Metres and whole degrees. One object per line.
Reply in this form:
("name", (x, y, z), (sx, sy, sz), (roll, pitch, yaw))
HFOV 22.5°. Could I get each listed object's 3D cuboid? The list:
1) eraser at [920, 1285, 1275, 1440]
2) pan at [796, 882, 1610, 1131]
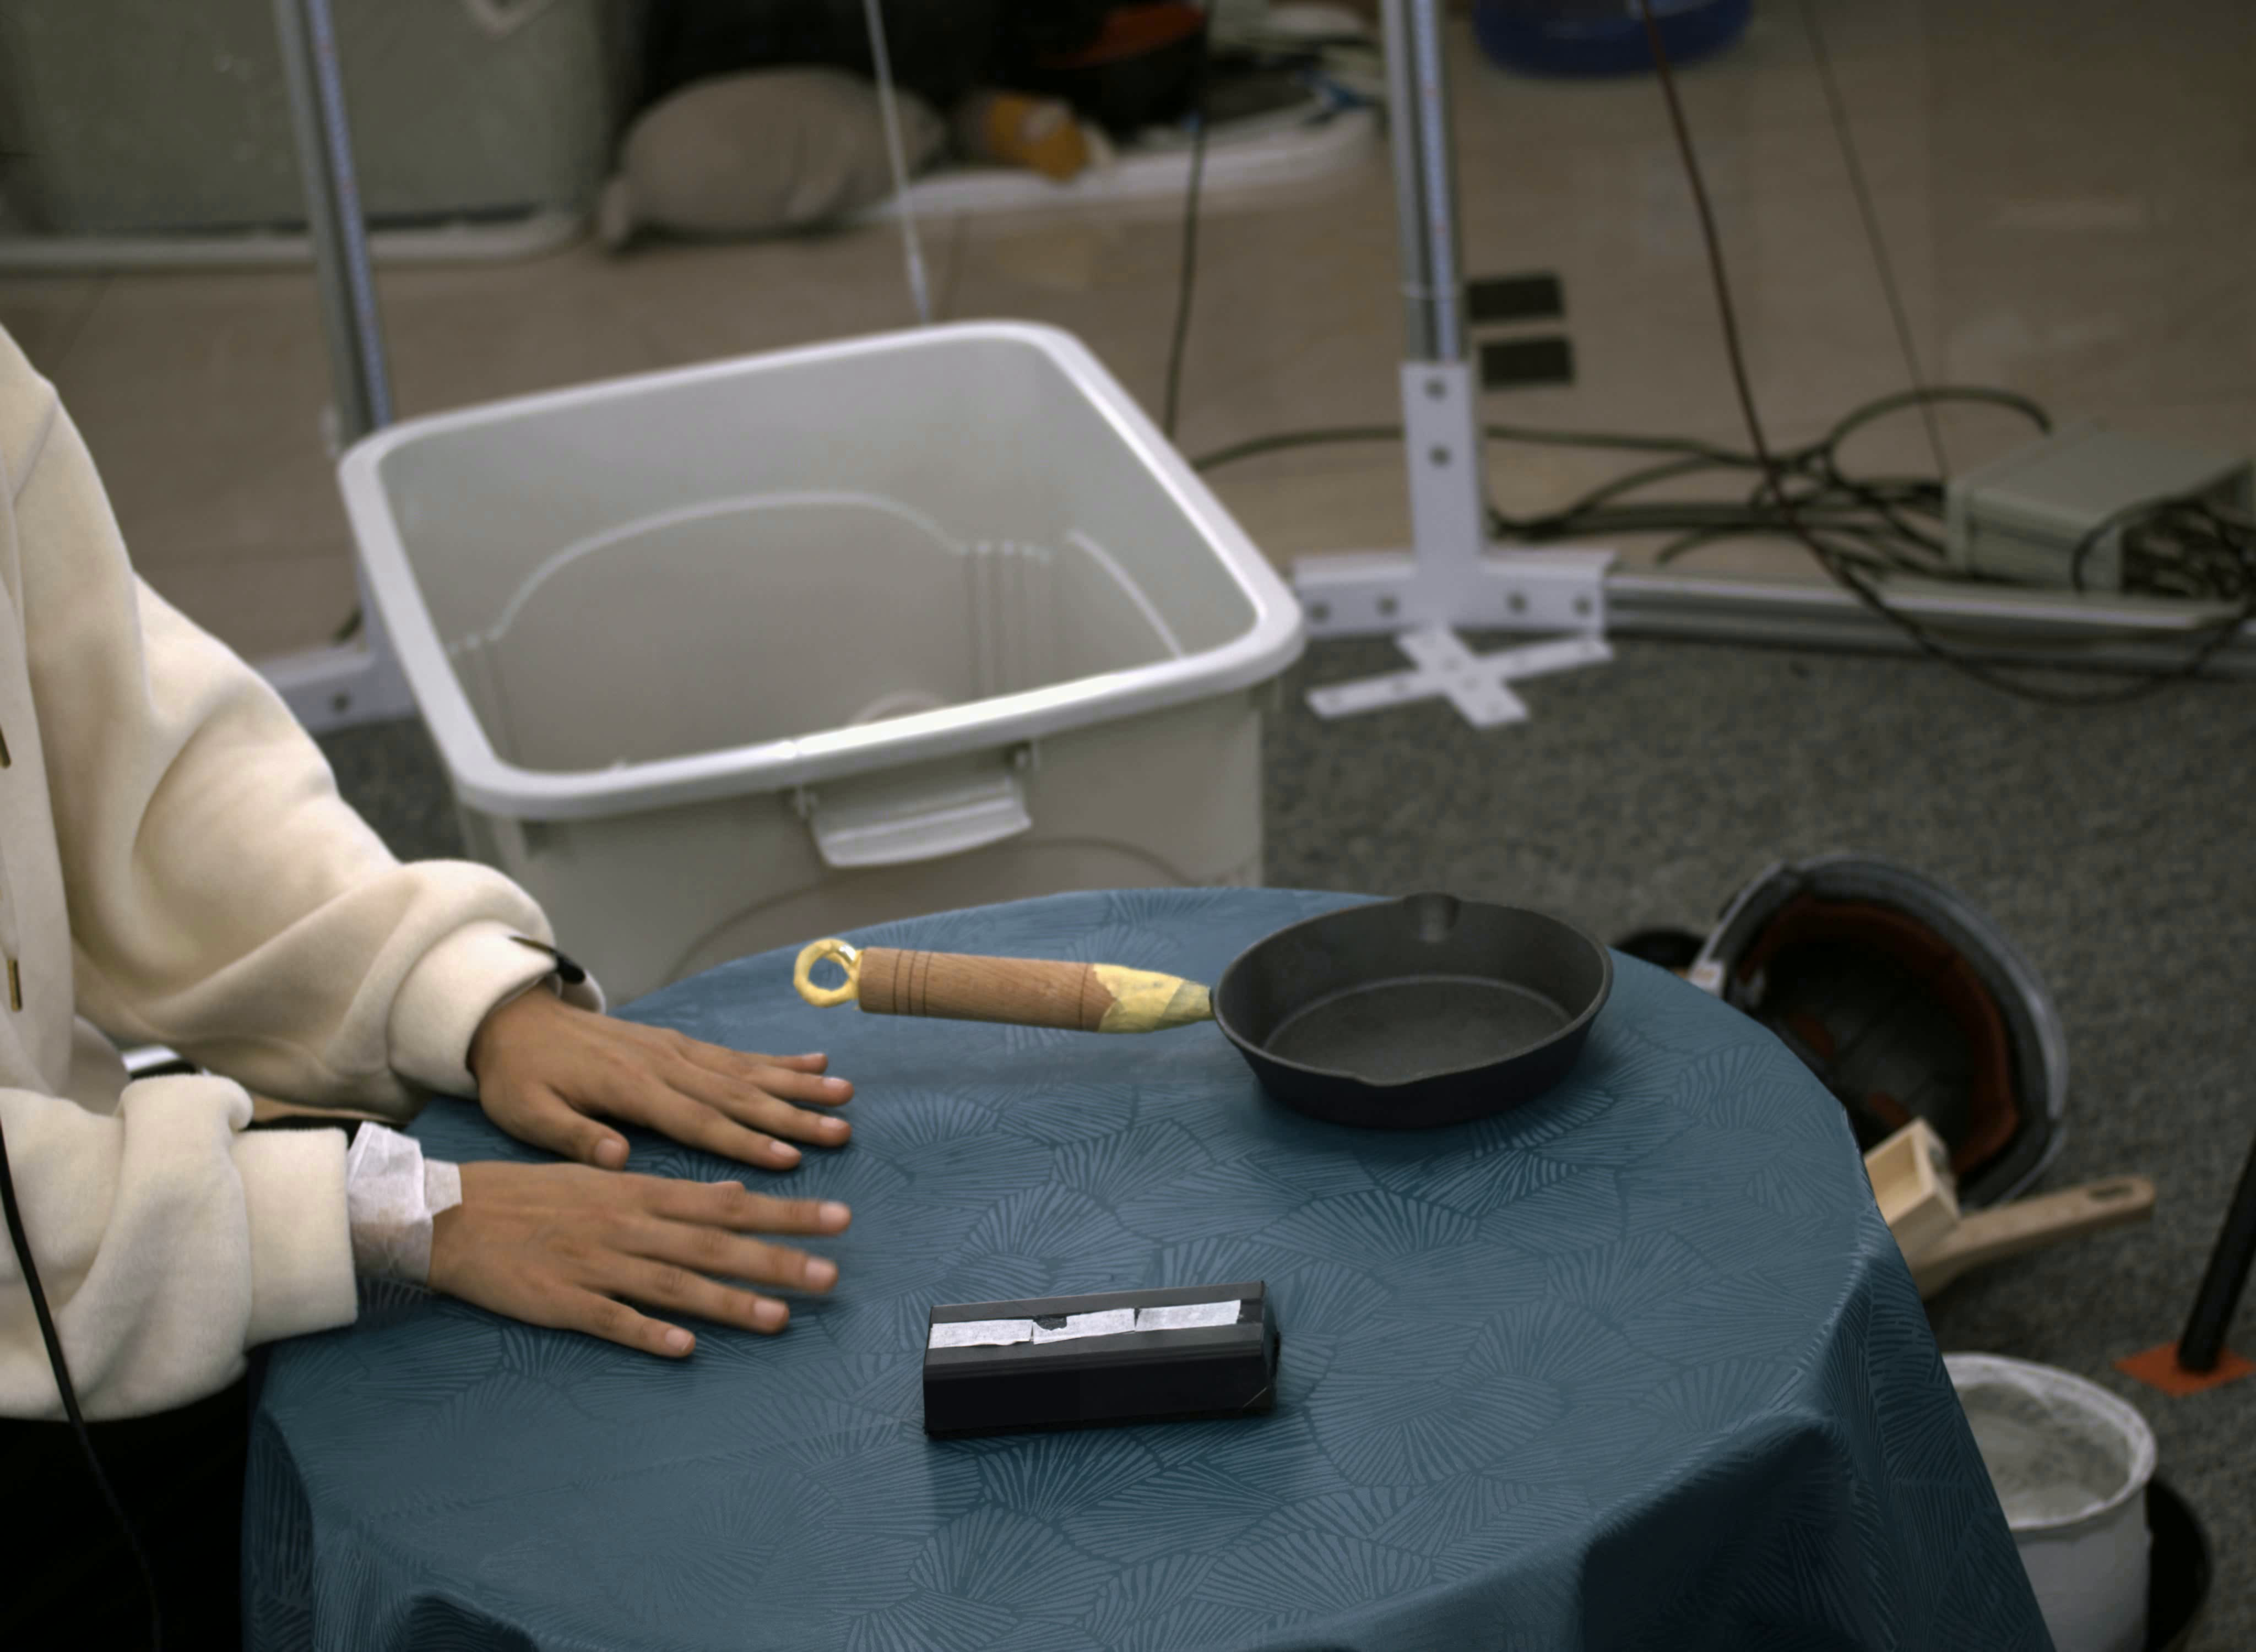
("eraser", (-0.009, 0.189, 2.010), (0.125, 0.031, 0.053), (-5, 24, 6))
("pan", (0.029, 0.069, 2.229), (0.323, 0.050, 0.166), (0, 27, 12))
